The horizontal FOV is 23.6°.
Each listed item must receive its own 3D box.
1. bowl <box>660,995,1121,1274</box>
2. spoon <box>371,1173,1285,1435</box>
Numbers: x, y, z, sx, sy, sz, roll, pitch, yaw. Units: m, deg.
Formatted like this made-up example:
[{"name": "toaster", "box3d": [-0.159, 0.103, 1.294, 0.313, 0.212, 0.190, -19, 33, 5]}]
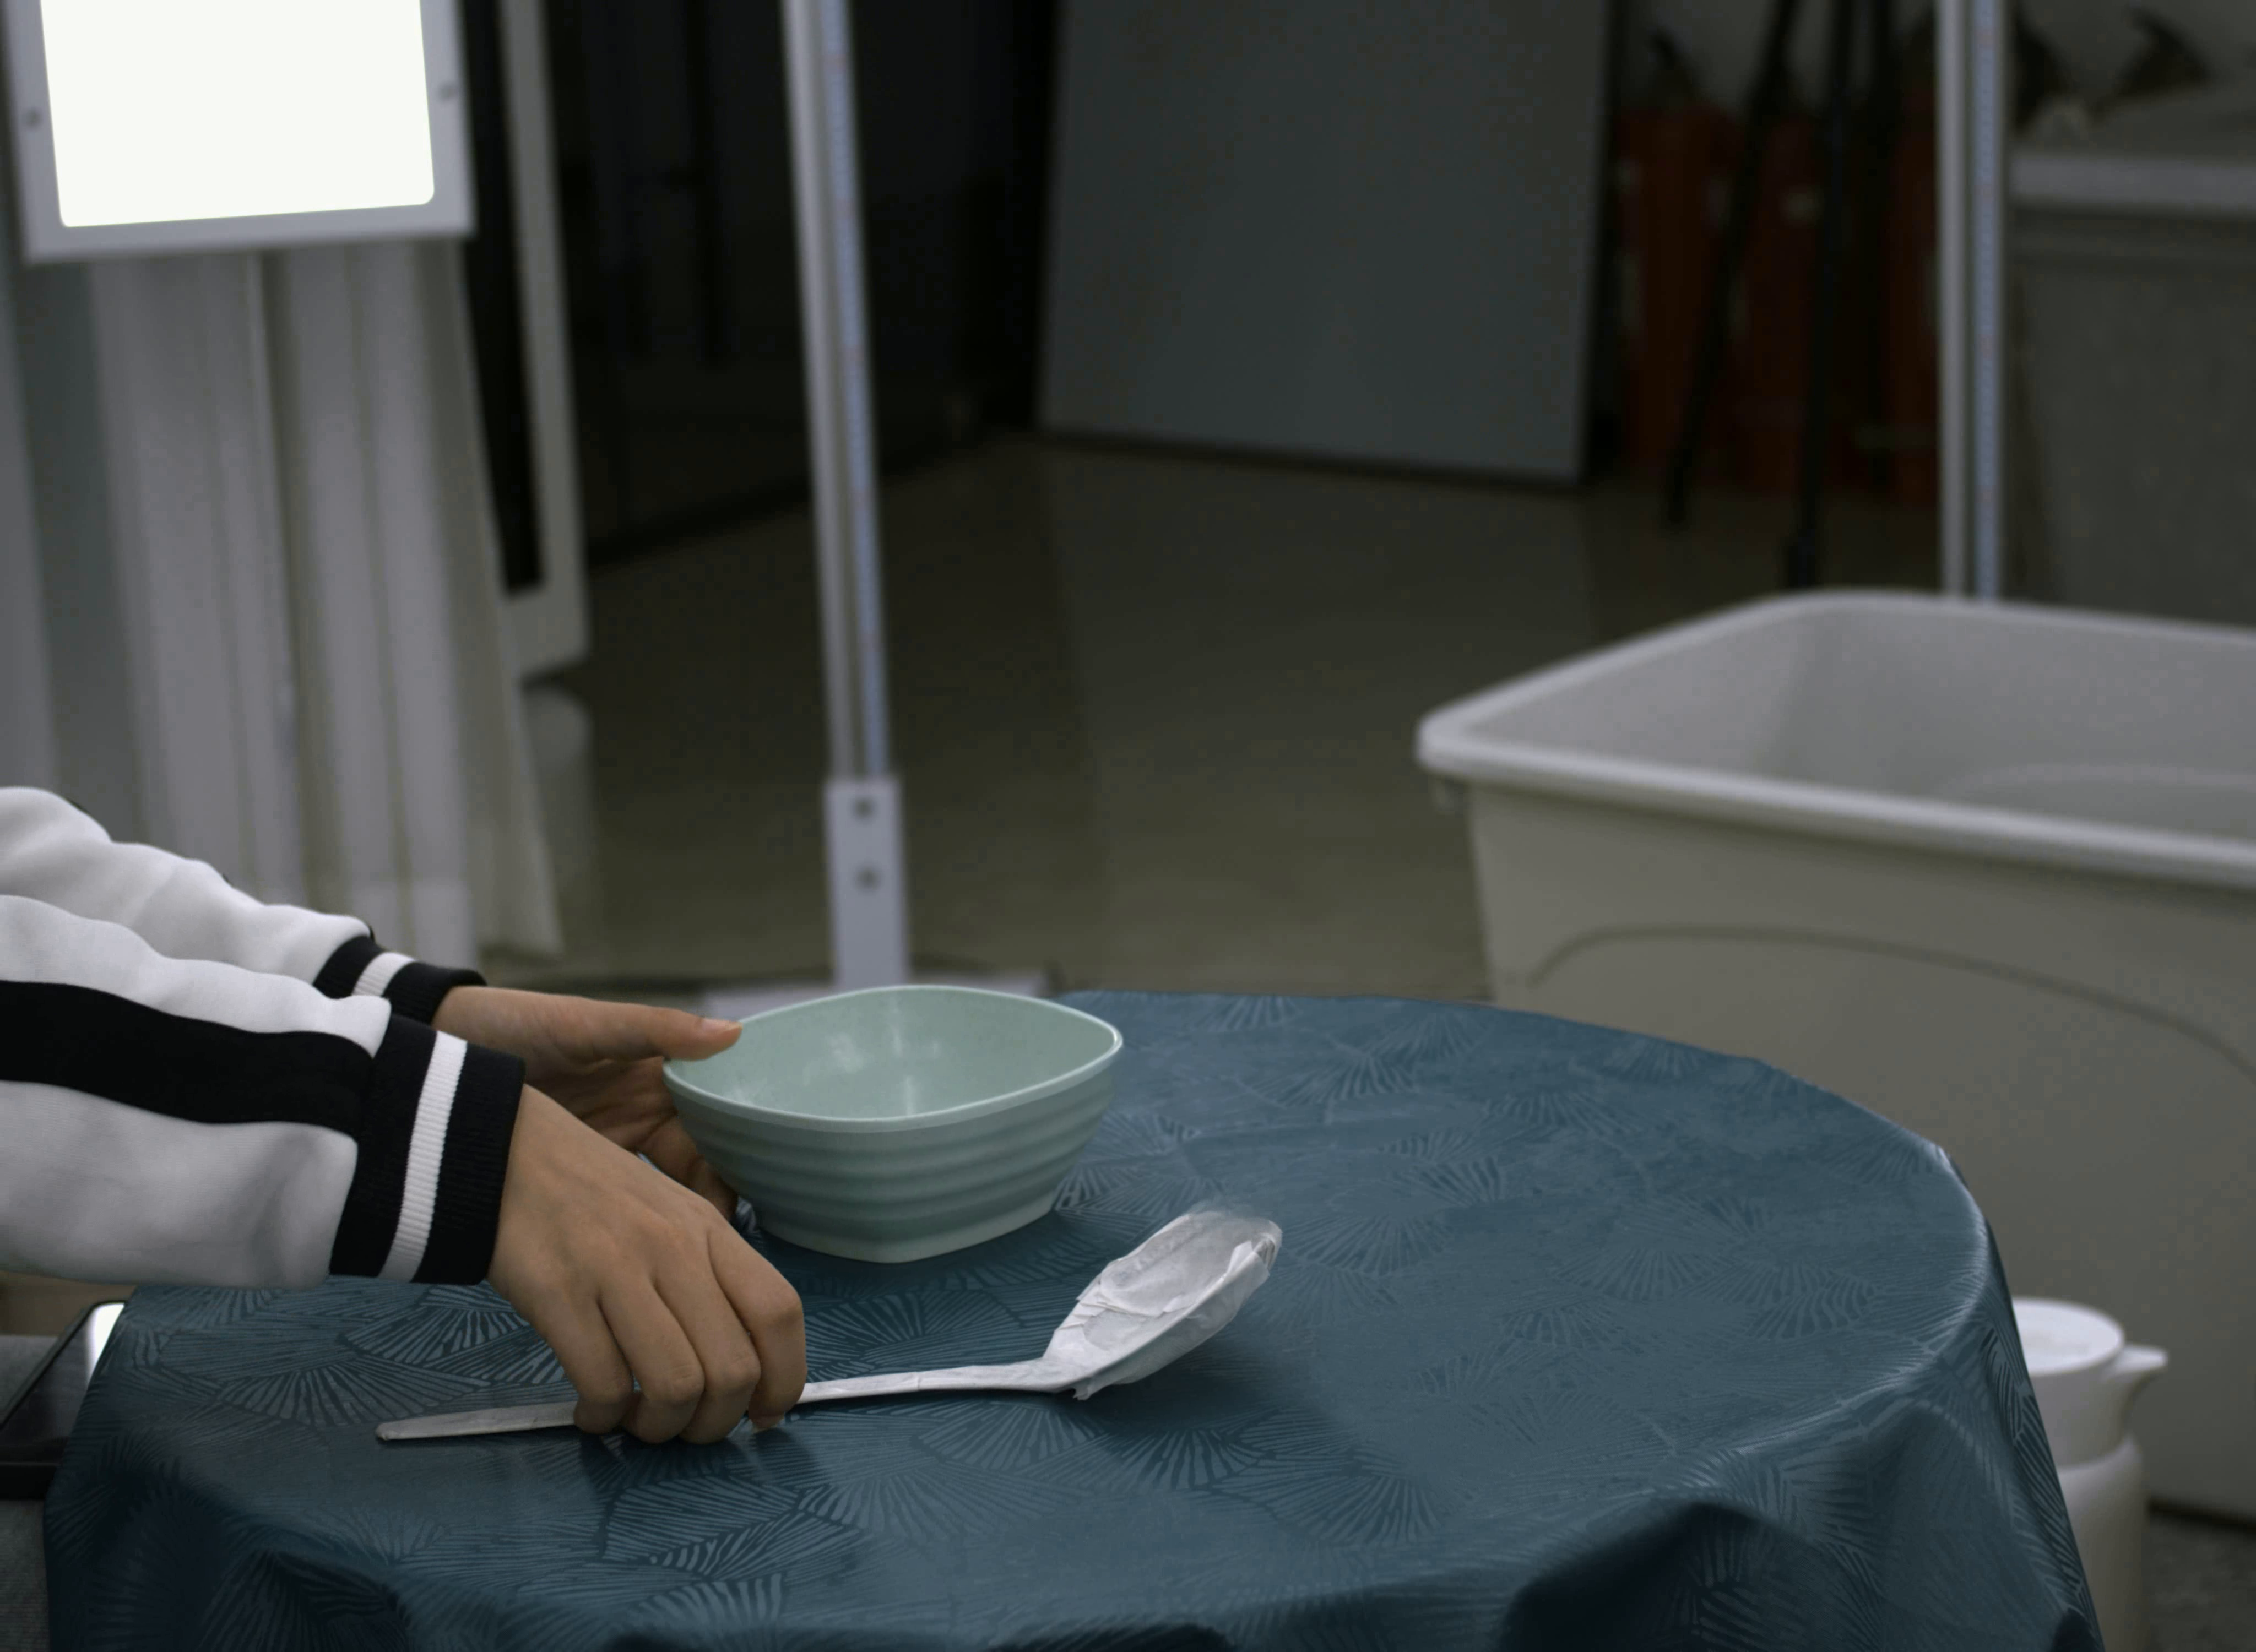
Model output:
[{"name": "bowl", "box3d": [-0.075, 0.103, 1.754, 0.149, 0.059, 0.152, -3, 13, 0]}, {"name": "spoon", "box3d": [-0.088, 0.141, 1.597, 0.274, 0.060, 0.100, -4, 7, 2]}]
